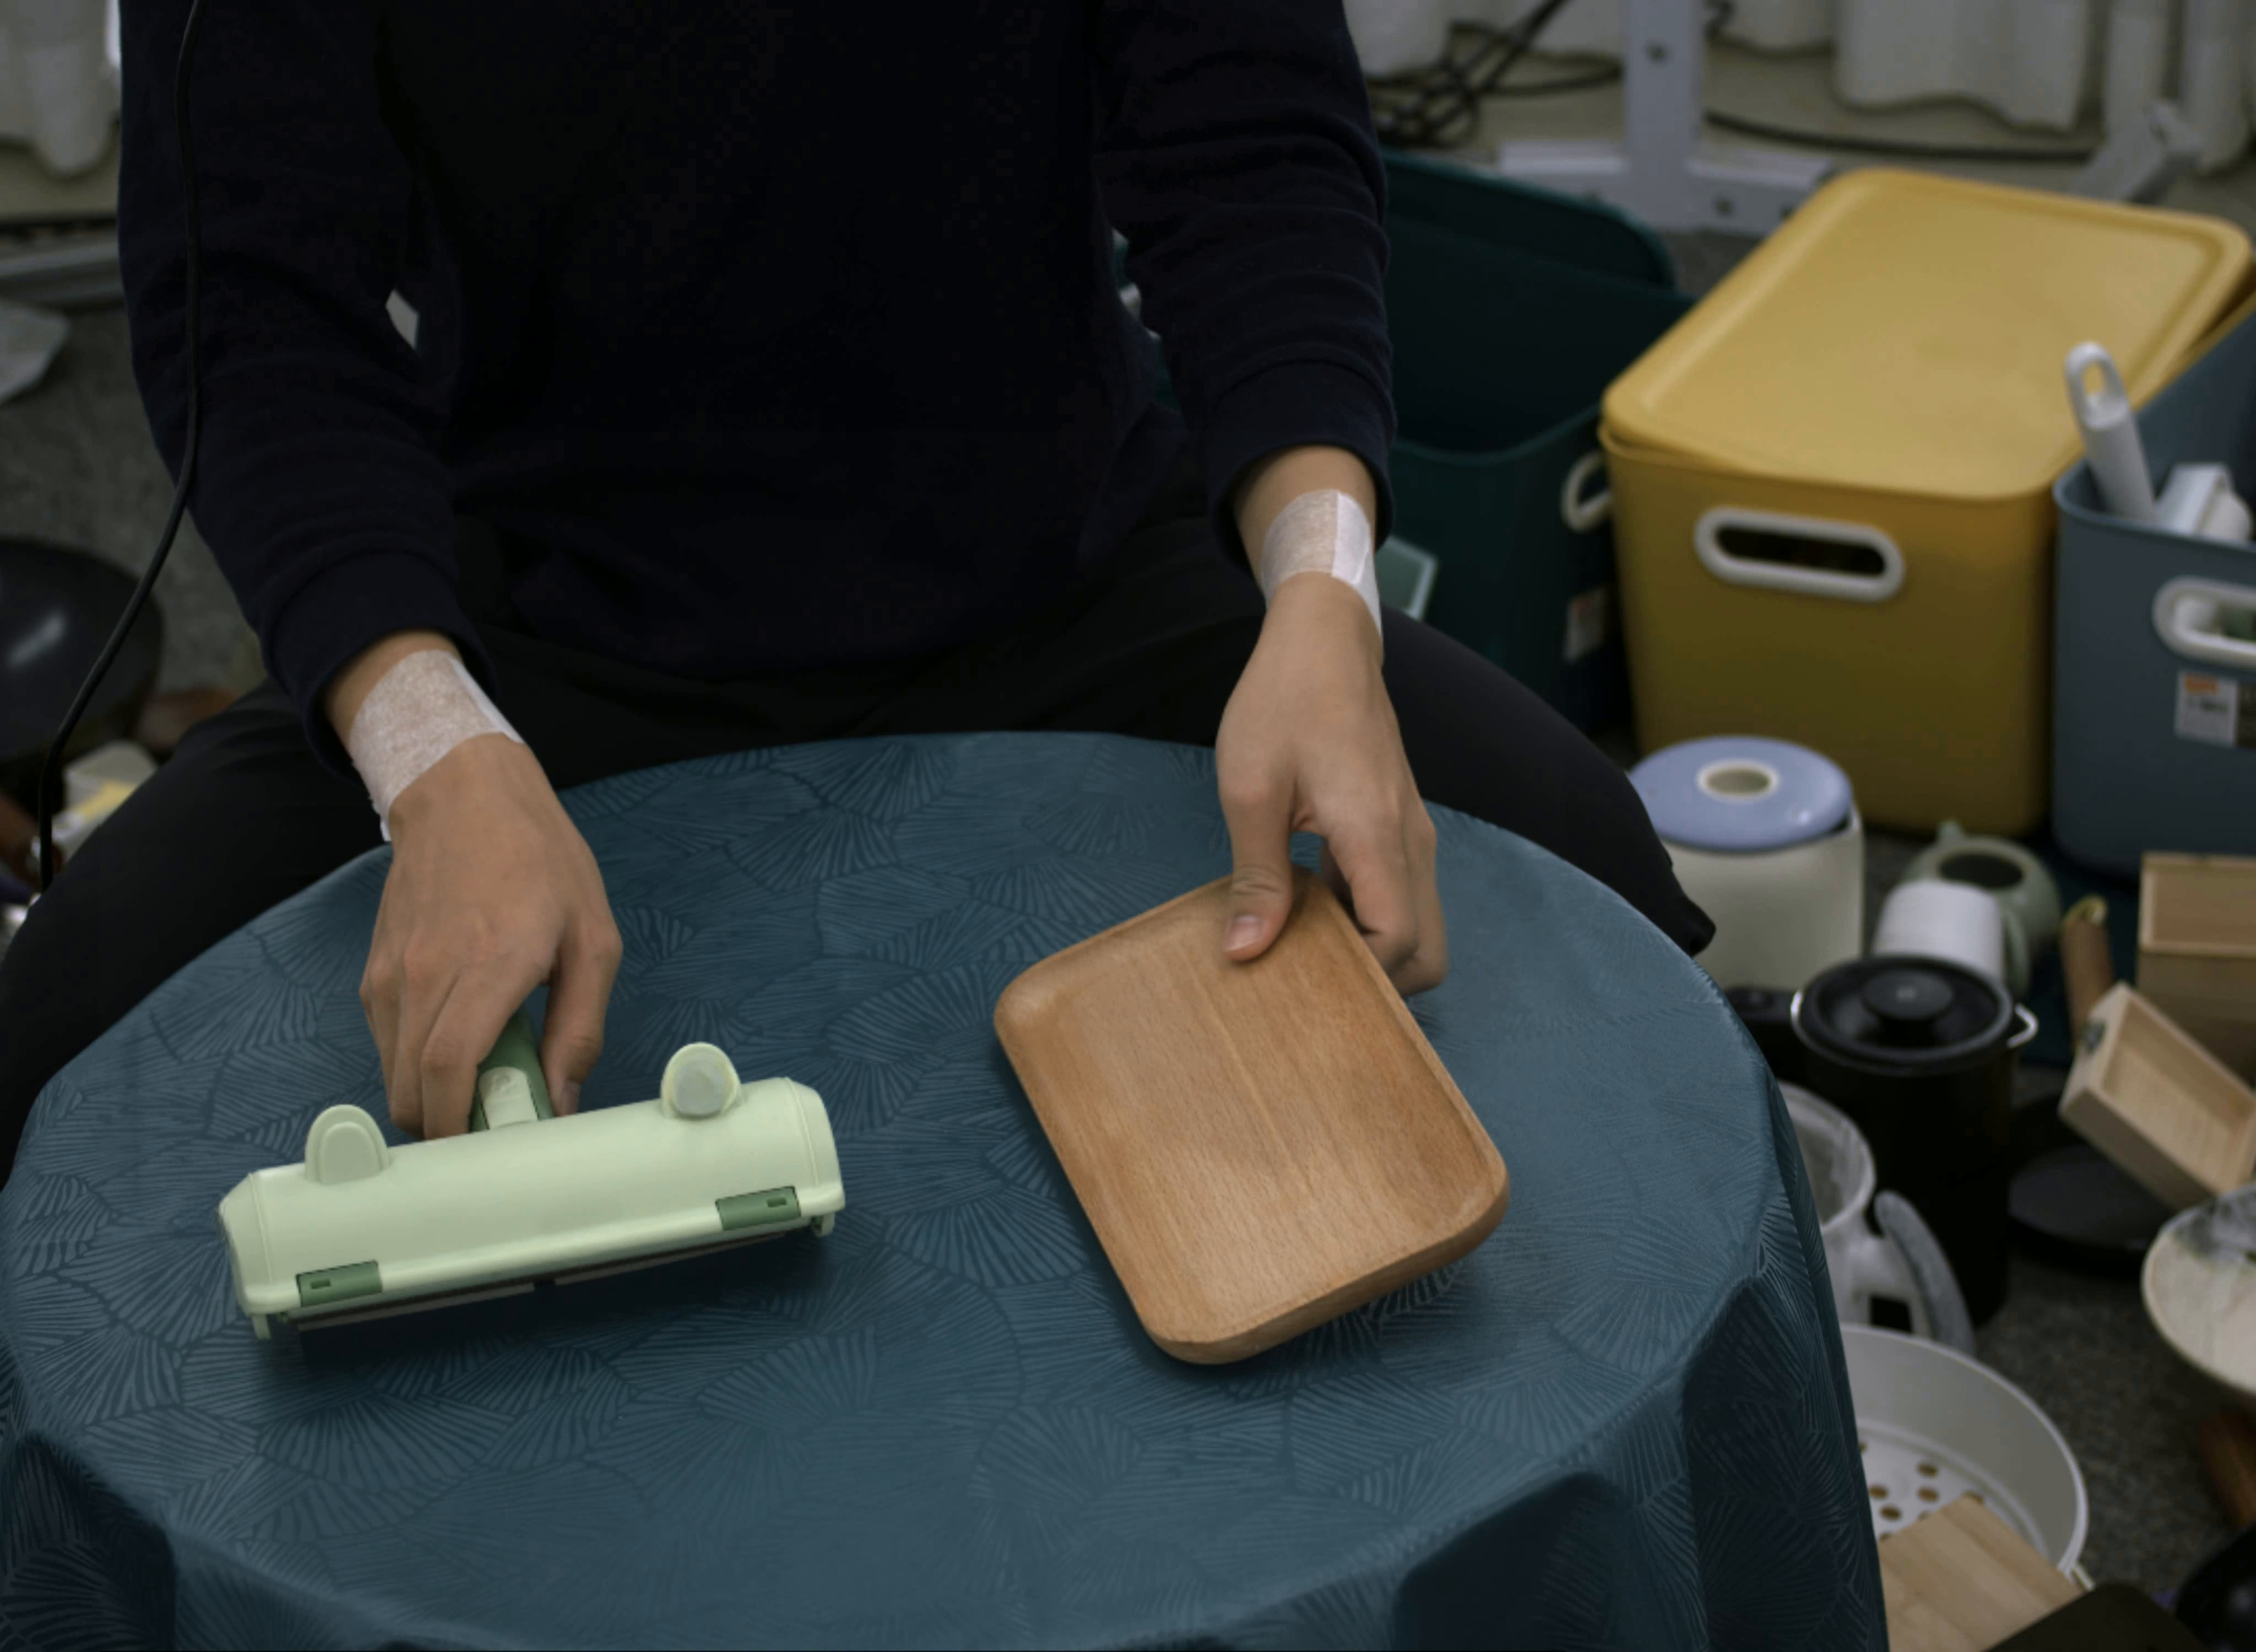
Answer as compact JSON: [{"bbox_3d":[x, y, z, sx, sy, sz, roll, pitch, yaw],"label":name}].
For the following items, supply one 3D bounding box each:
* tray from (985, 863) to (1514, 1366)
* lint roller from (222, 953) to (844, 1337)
[{"bbox_3d":[0.037,0.093,1.864,0.130,0.022,0.253,-22,30,-6],"label":"tray"},{"bbox_3d":[-0.207,0.082,1.849,0.198,0.081,0.186,-9,41,-13],"label":"lint roller"}]
